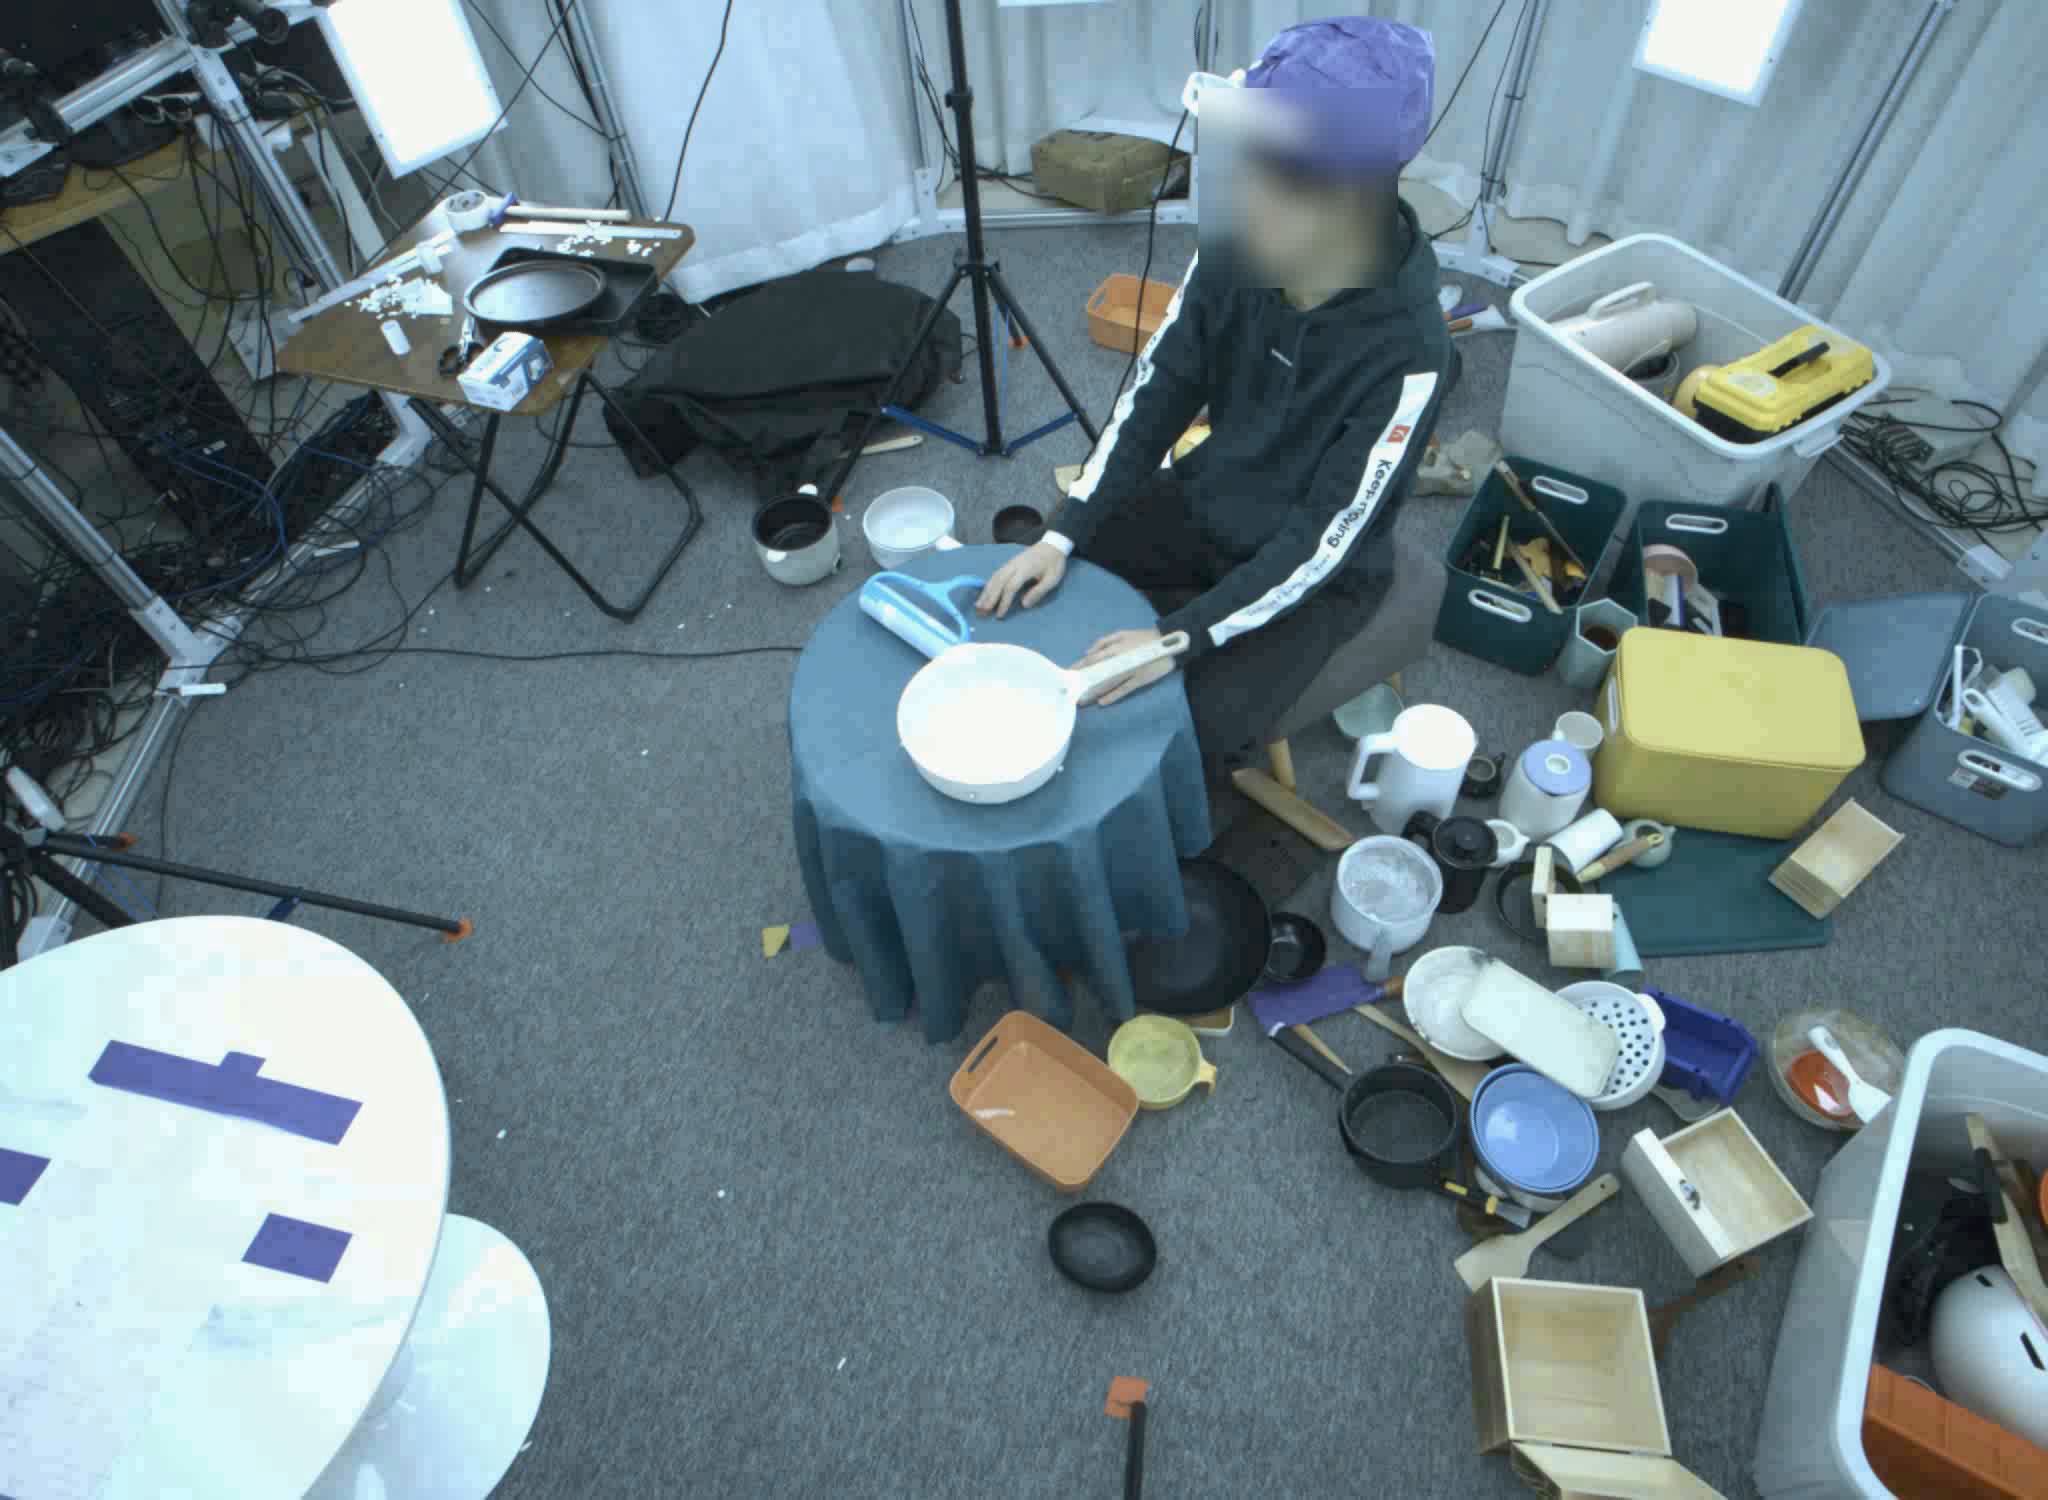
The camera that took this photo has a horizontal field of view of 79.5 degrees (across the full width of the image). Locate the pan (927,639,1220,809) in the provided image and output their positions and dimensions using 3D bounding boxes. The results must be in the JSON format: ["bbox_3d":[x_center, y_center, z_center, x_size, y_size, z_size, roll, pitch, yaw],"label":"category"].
[{"bbox_3d":[0.078,-0.056,1.758,0.438,0.103,0.258,-17,54,-10],"label":"pan"}]

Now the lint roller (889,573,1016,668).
[{"bbox_3d":[-0.085,-0.229,1.913,0.225,0.069,0.181,35,64,25],"label":"lint roller"}]
